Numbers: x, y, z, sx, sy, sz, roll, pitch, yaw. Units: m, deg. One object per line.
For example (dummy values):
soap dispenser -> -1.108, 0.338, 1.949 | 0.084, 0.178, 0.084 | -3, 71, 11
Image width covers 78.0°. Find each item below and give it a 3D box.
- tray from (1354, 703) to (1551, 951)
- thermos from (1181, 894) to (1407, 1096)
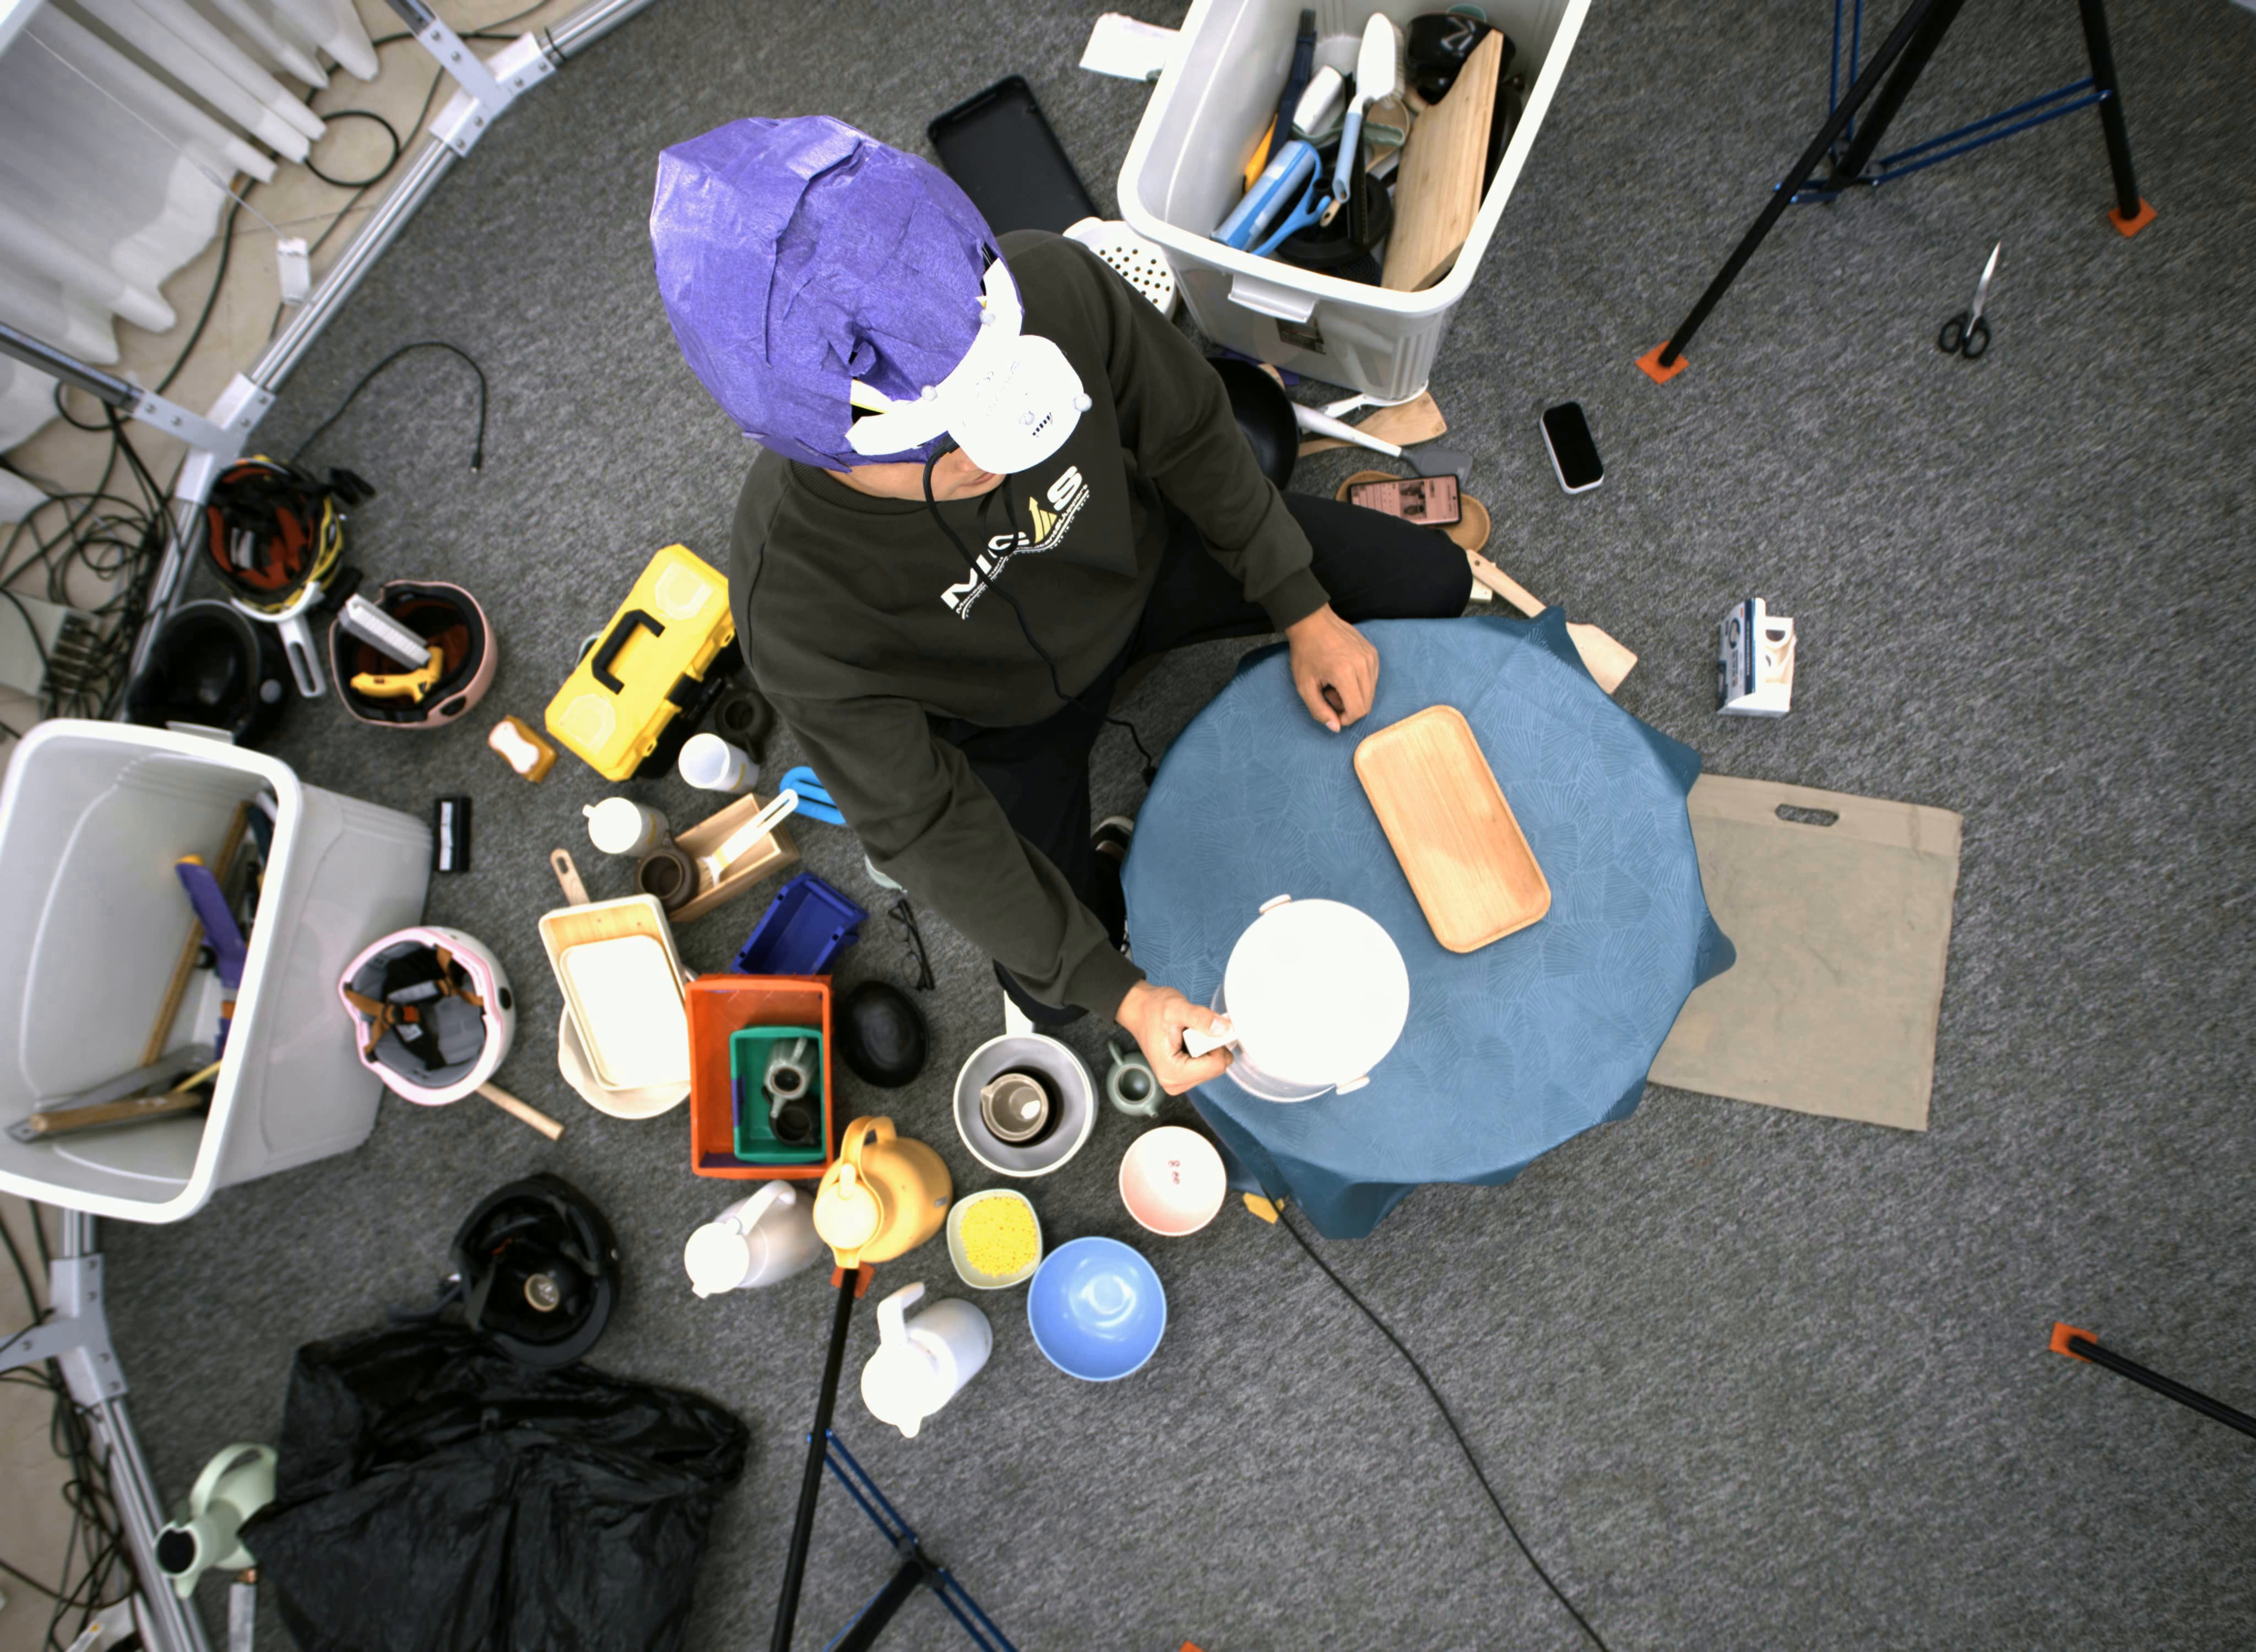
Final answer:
tray -> 0.339, -0.001, 1.443 | 0.131, 0.023, 0.249 | -24, 82, 6
thermos -> 0.147, 0.163, 1.263 | 0.207, 0.410, 0.174 | -22, 79, -3
